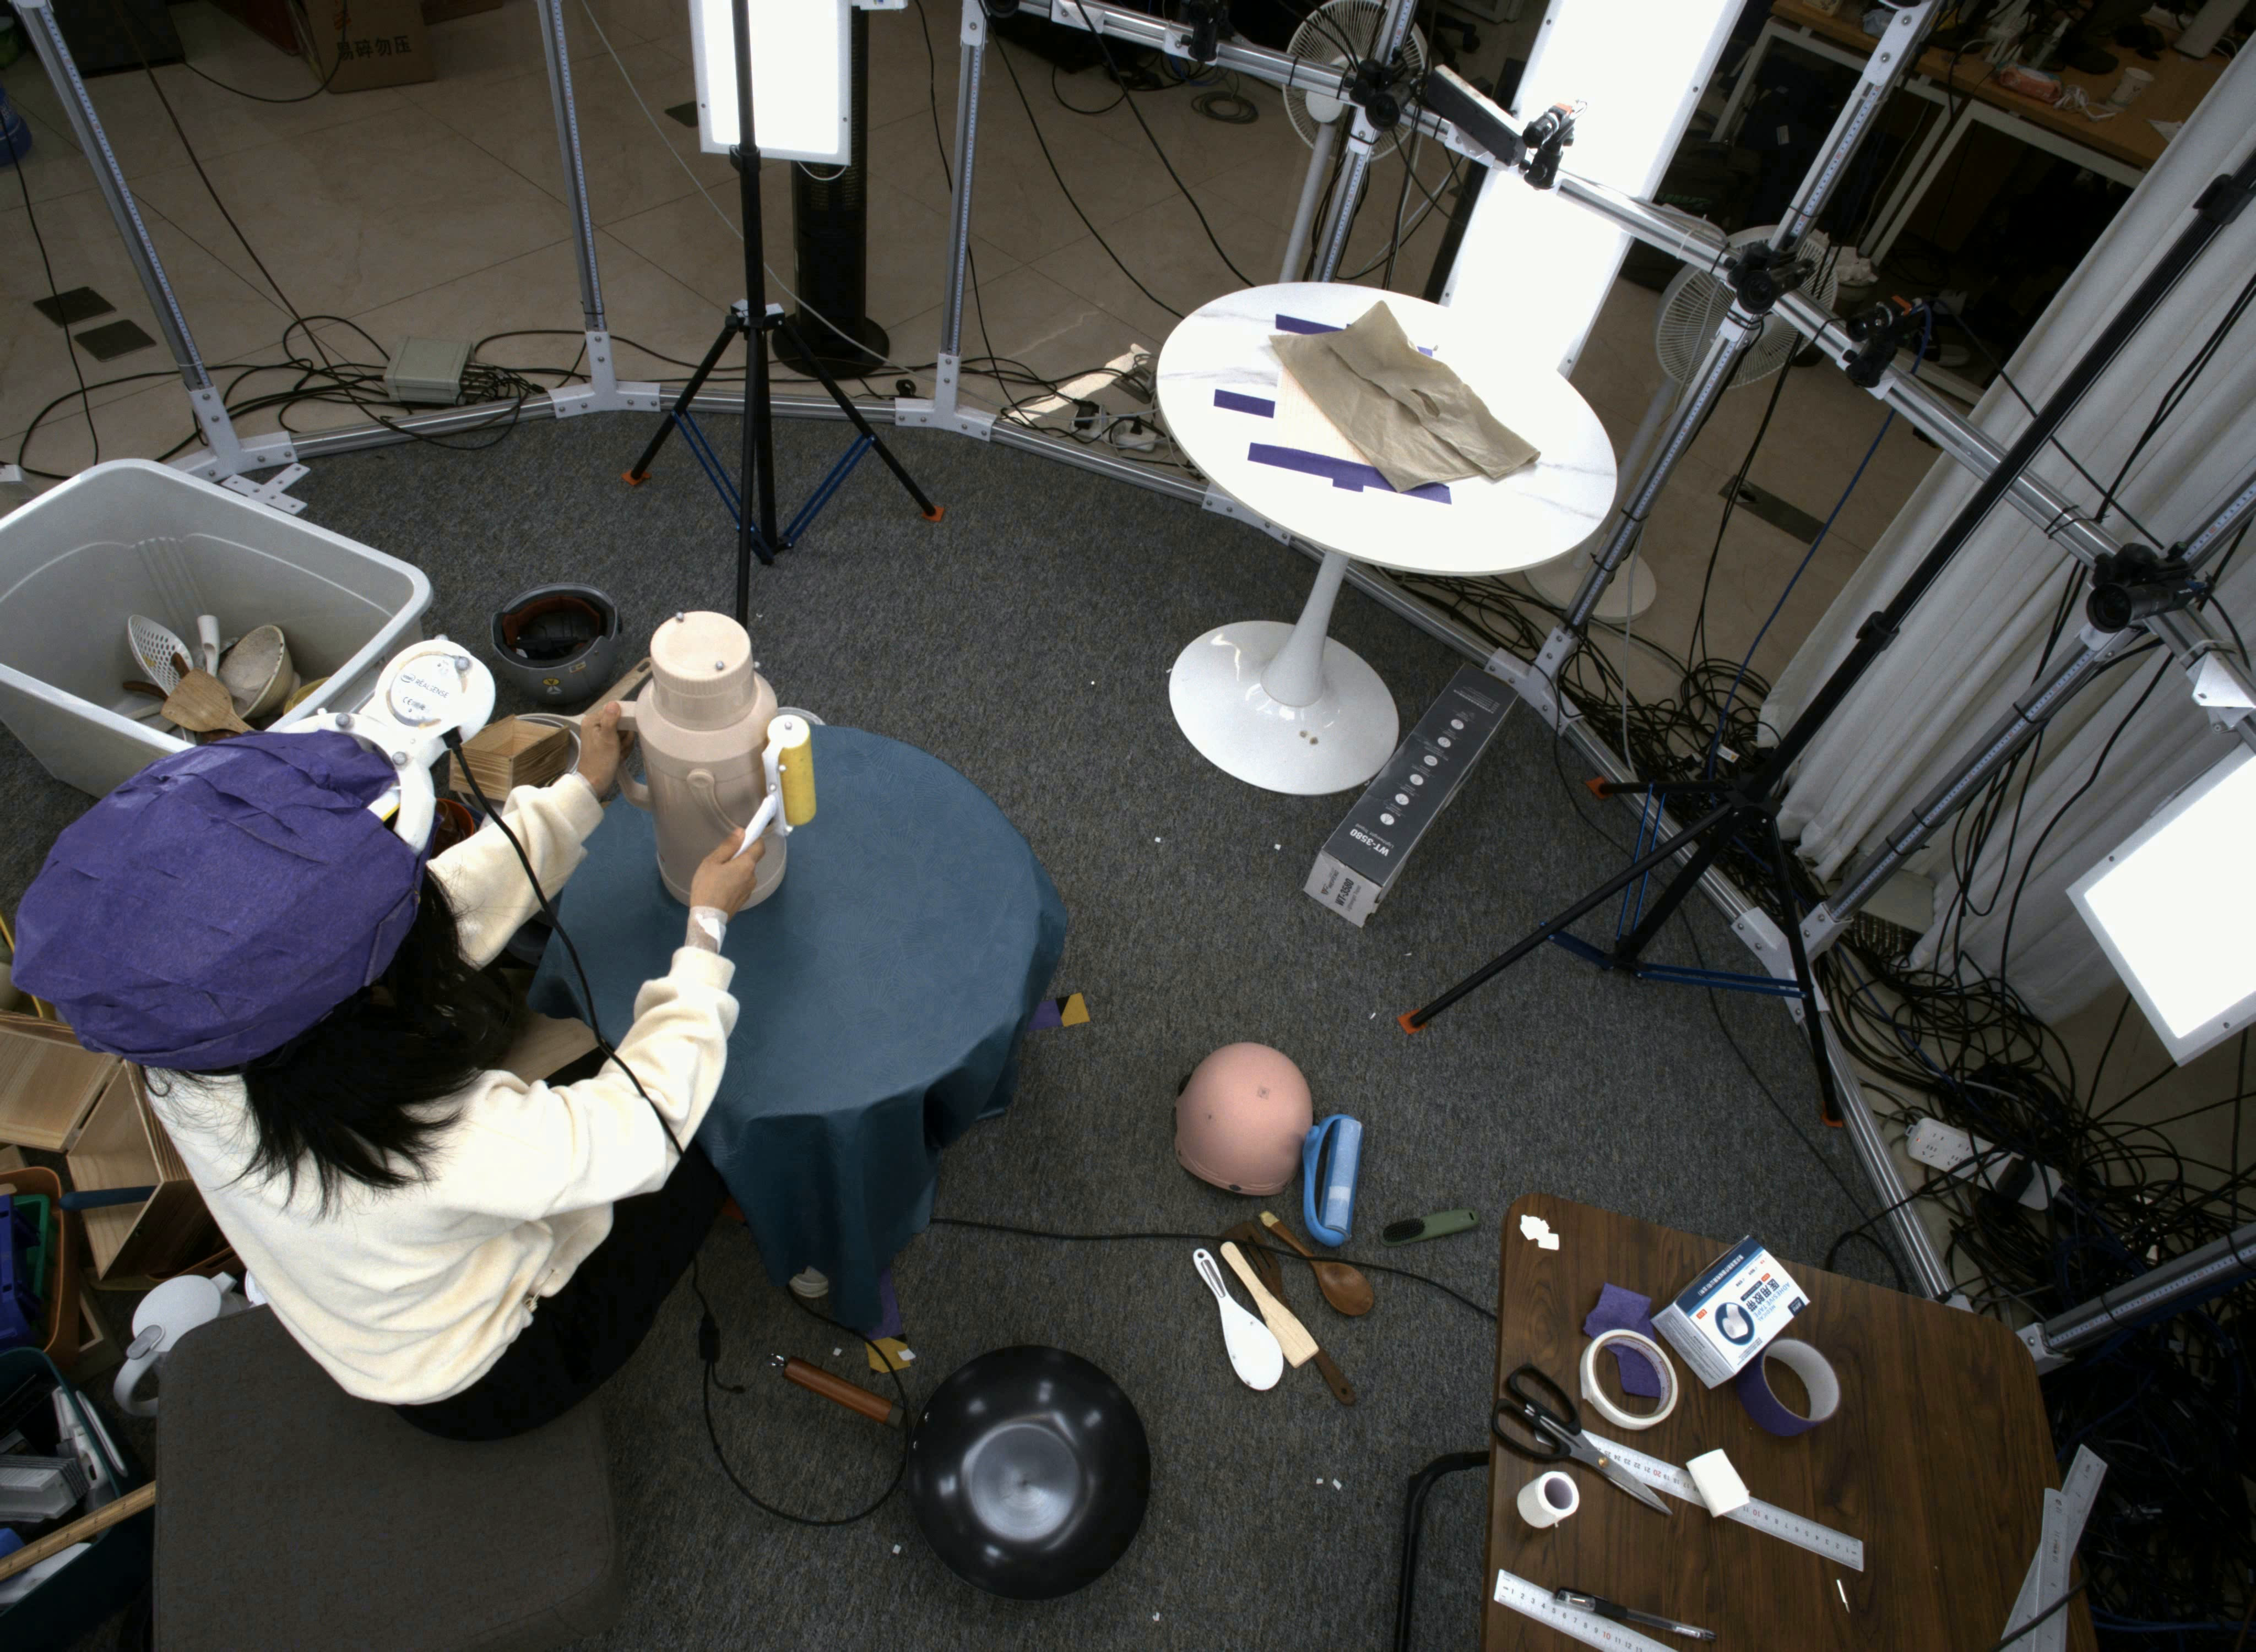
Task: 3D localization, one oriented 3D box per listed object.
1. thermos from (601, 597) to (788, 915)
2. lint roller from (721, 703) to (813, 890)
[{"bbox_3d":[-0.502,-0.079,1.500,0.207,0.415,0.171,0,53,-12],"label":"thermos"},{"bbox_3d":[-0.402,-0.012,1.445,0.051,0.177,0.190,10,58,-2],"label":"lint roller"}]
